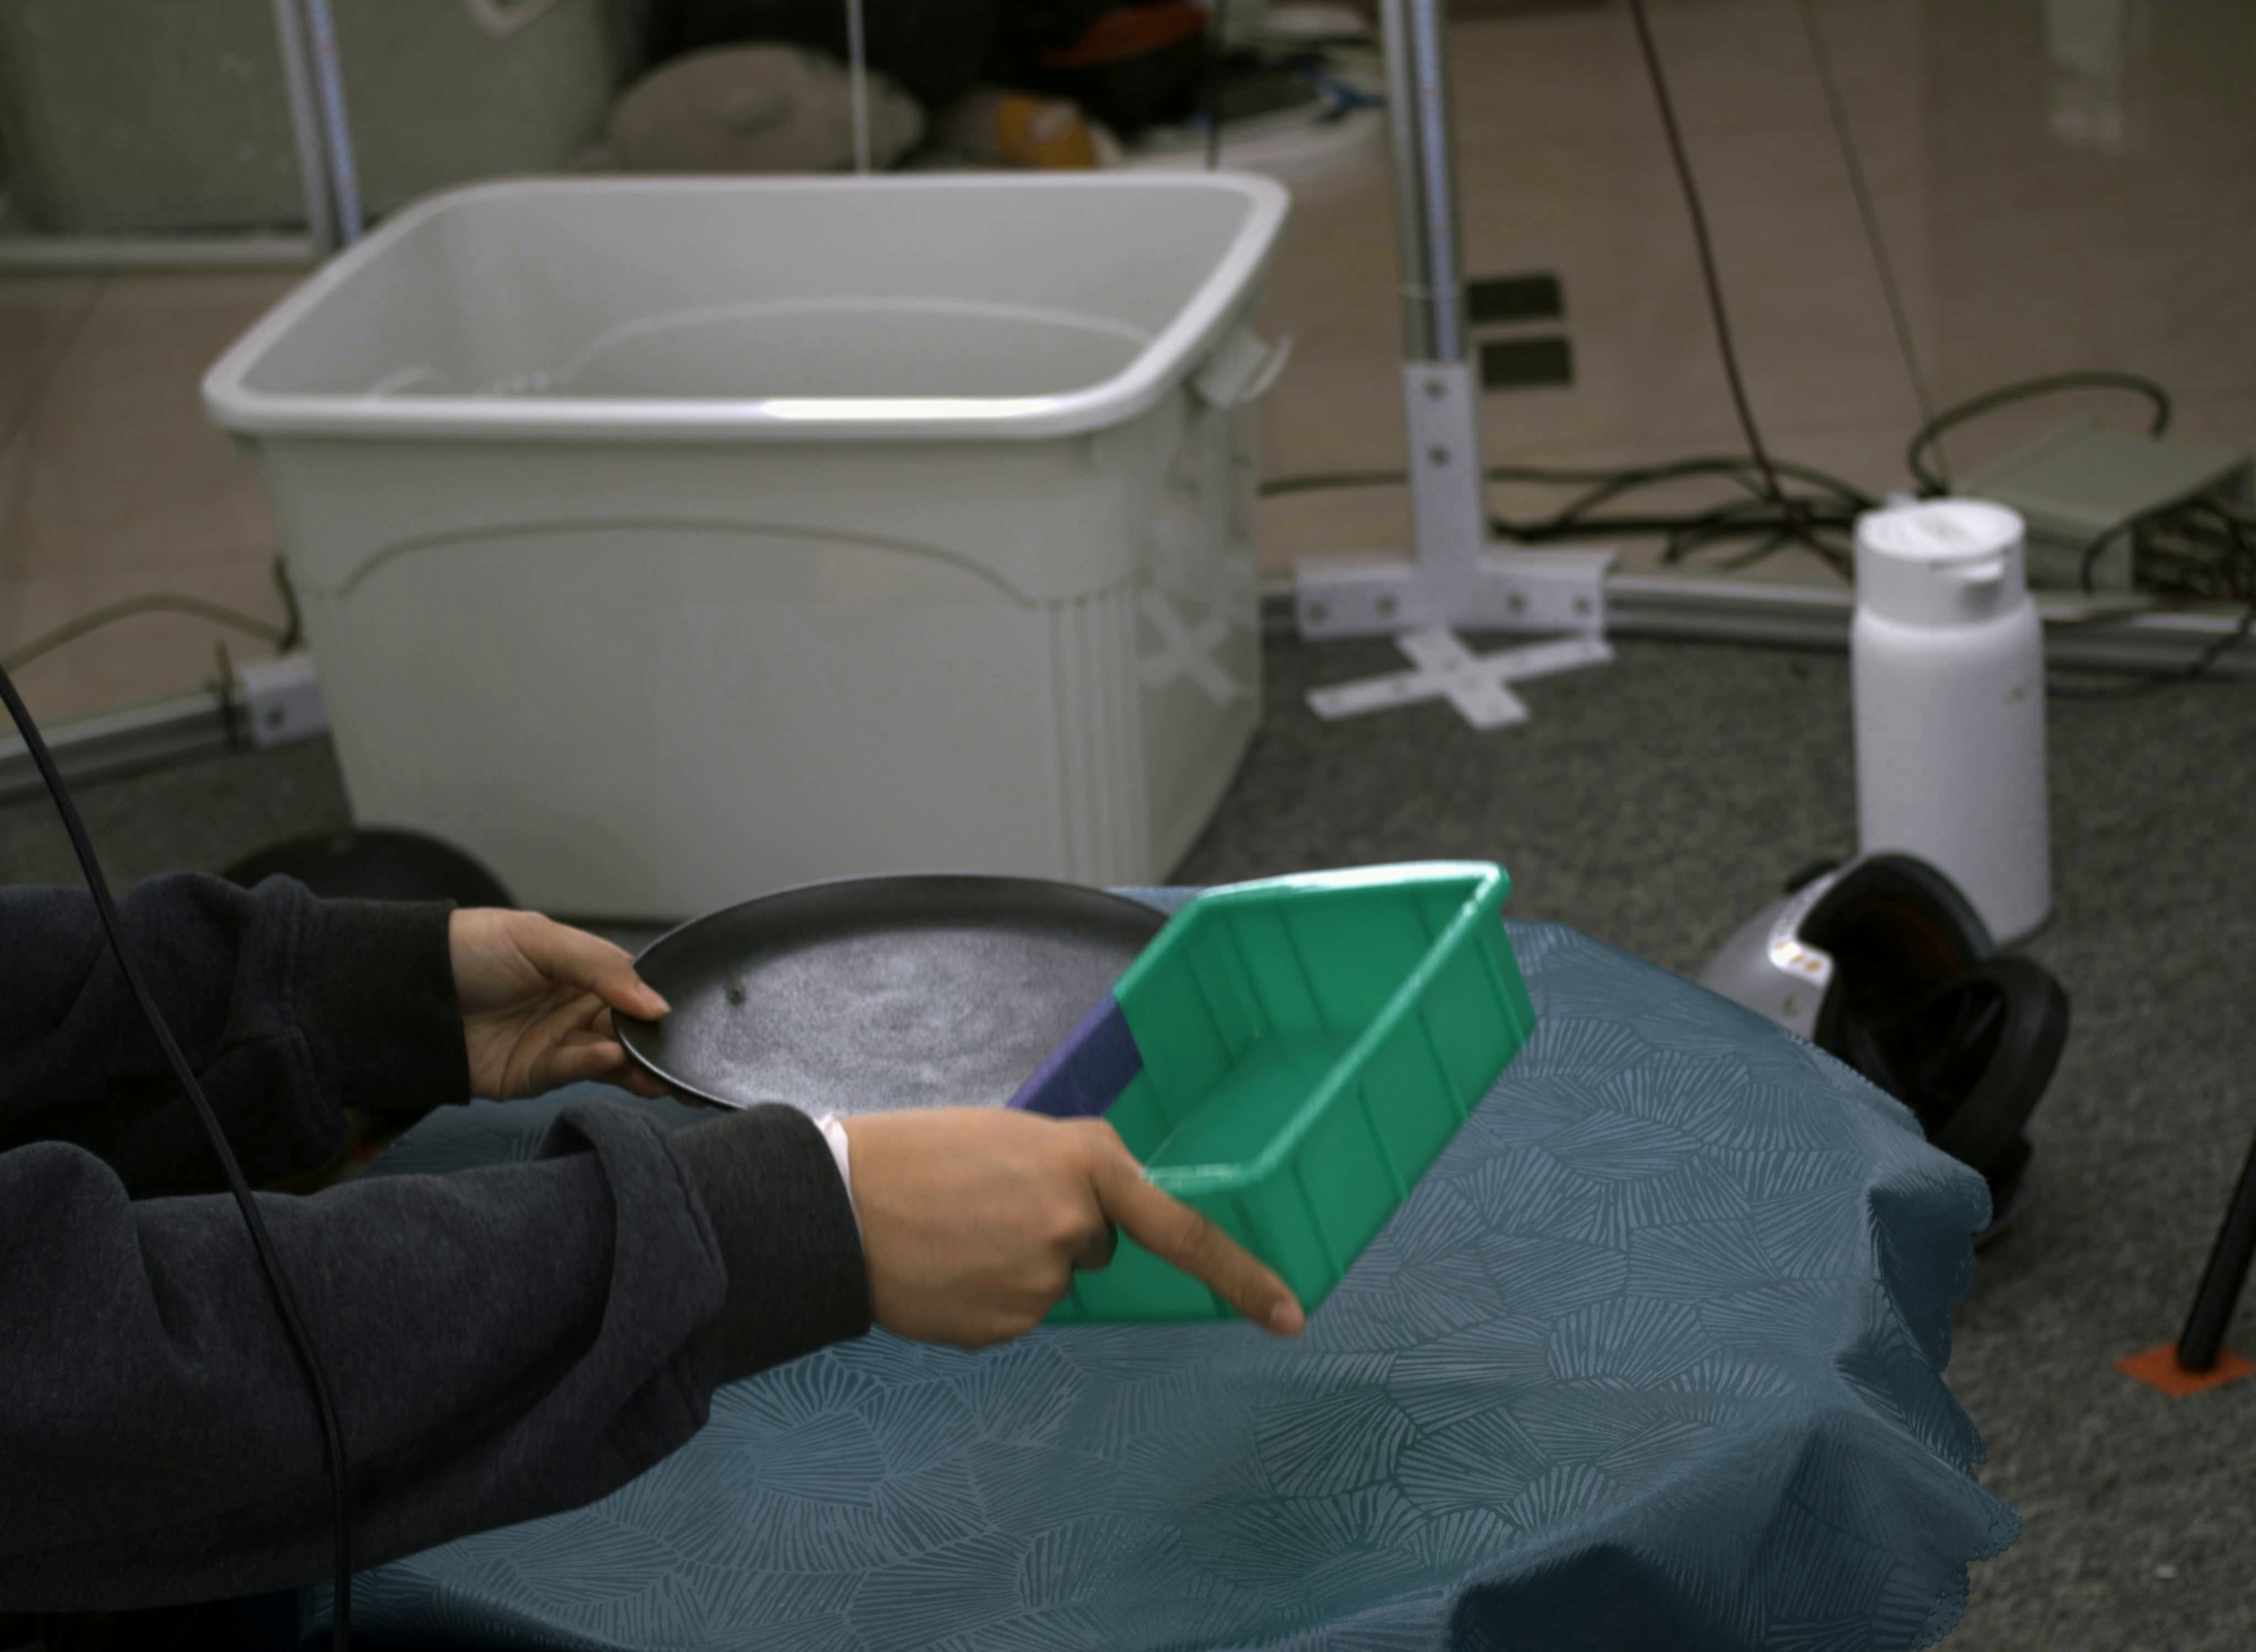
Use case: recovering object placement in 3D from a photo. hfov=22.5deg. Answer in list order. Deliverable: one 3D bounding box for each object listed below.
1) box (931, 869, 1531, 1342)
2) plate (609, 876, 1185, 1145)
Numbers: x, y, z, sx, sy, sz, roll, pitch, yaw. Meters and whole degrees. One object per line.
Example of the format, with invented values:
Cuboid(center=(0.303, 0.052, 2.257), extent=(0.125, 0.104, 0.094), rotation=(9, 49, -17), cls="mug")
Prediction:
Cuboid(center=(0.042, 0.097, 1.924), extent=(0.138, 0.066, 0.207), rotation=(-7, 29, 36), cls="box")
Cuboid(center=(-0.080, 0.076, 2.201), extent=(0.244, 0.024, 0.241), rotation=(0, 23, 0), cls="plate")
